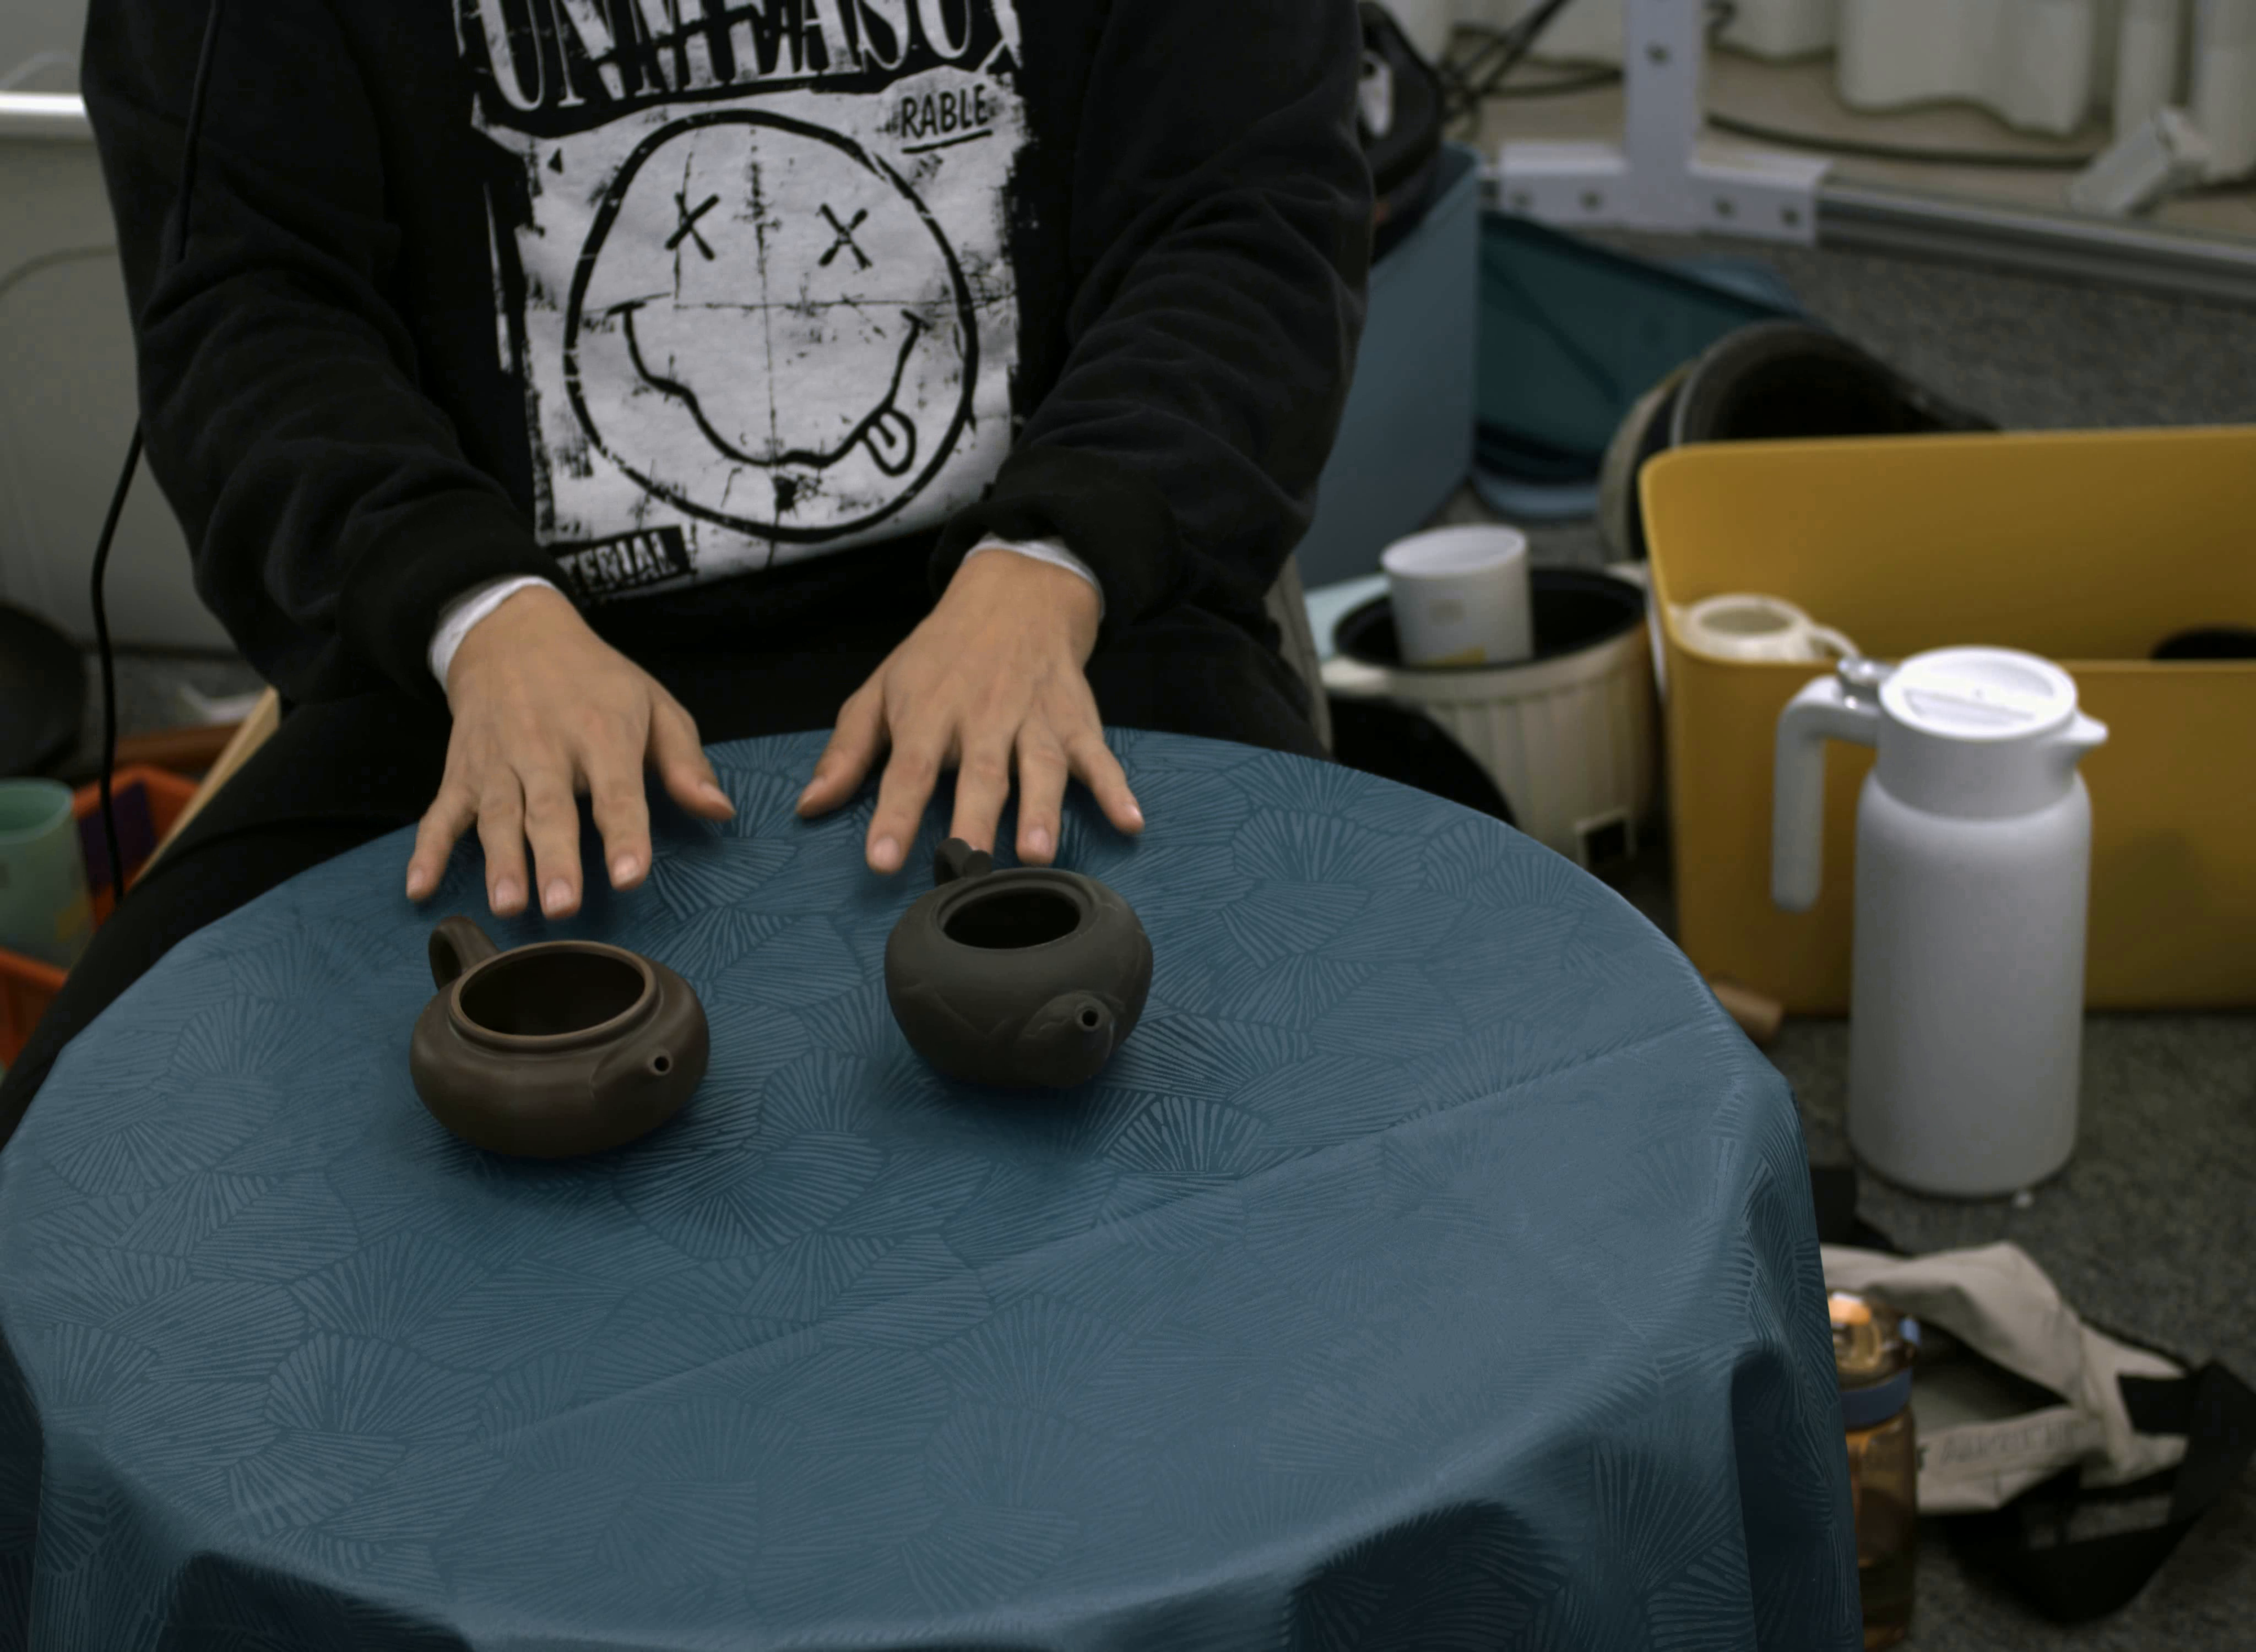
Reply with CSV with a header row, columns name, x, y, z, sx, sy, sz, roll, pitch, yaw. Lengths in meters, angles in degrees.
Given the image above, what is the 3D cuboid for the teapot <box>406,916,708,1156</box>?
name,x,y,z,sx,sy,sz,roll,pitch,yaw
teapot,-0.197,0.073,1.913,0.103,0.053,0.153,-21,33,-37

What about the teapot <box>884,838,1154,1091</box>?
name,x,y,z,sx,sy,sz,roll,pitch,yaw
teapot,-0.038,0.051,1.931,0.092,0.064,0.155,-10,28,-18
